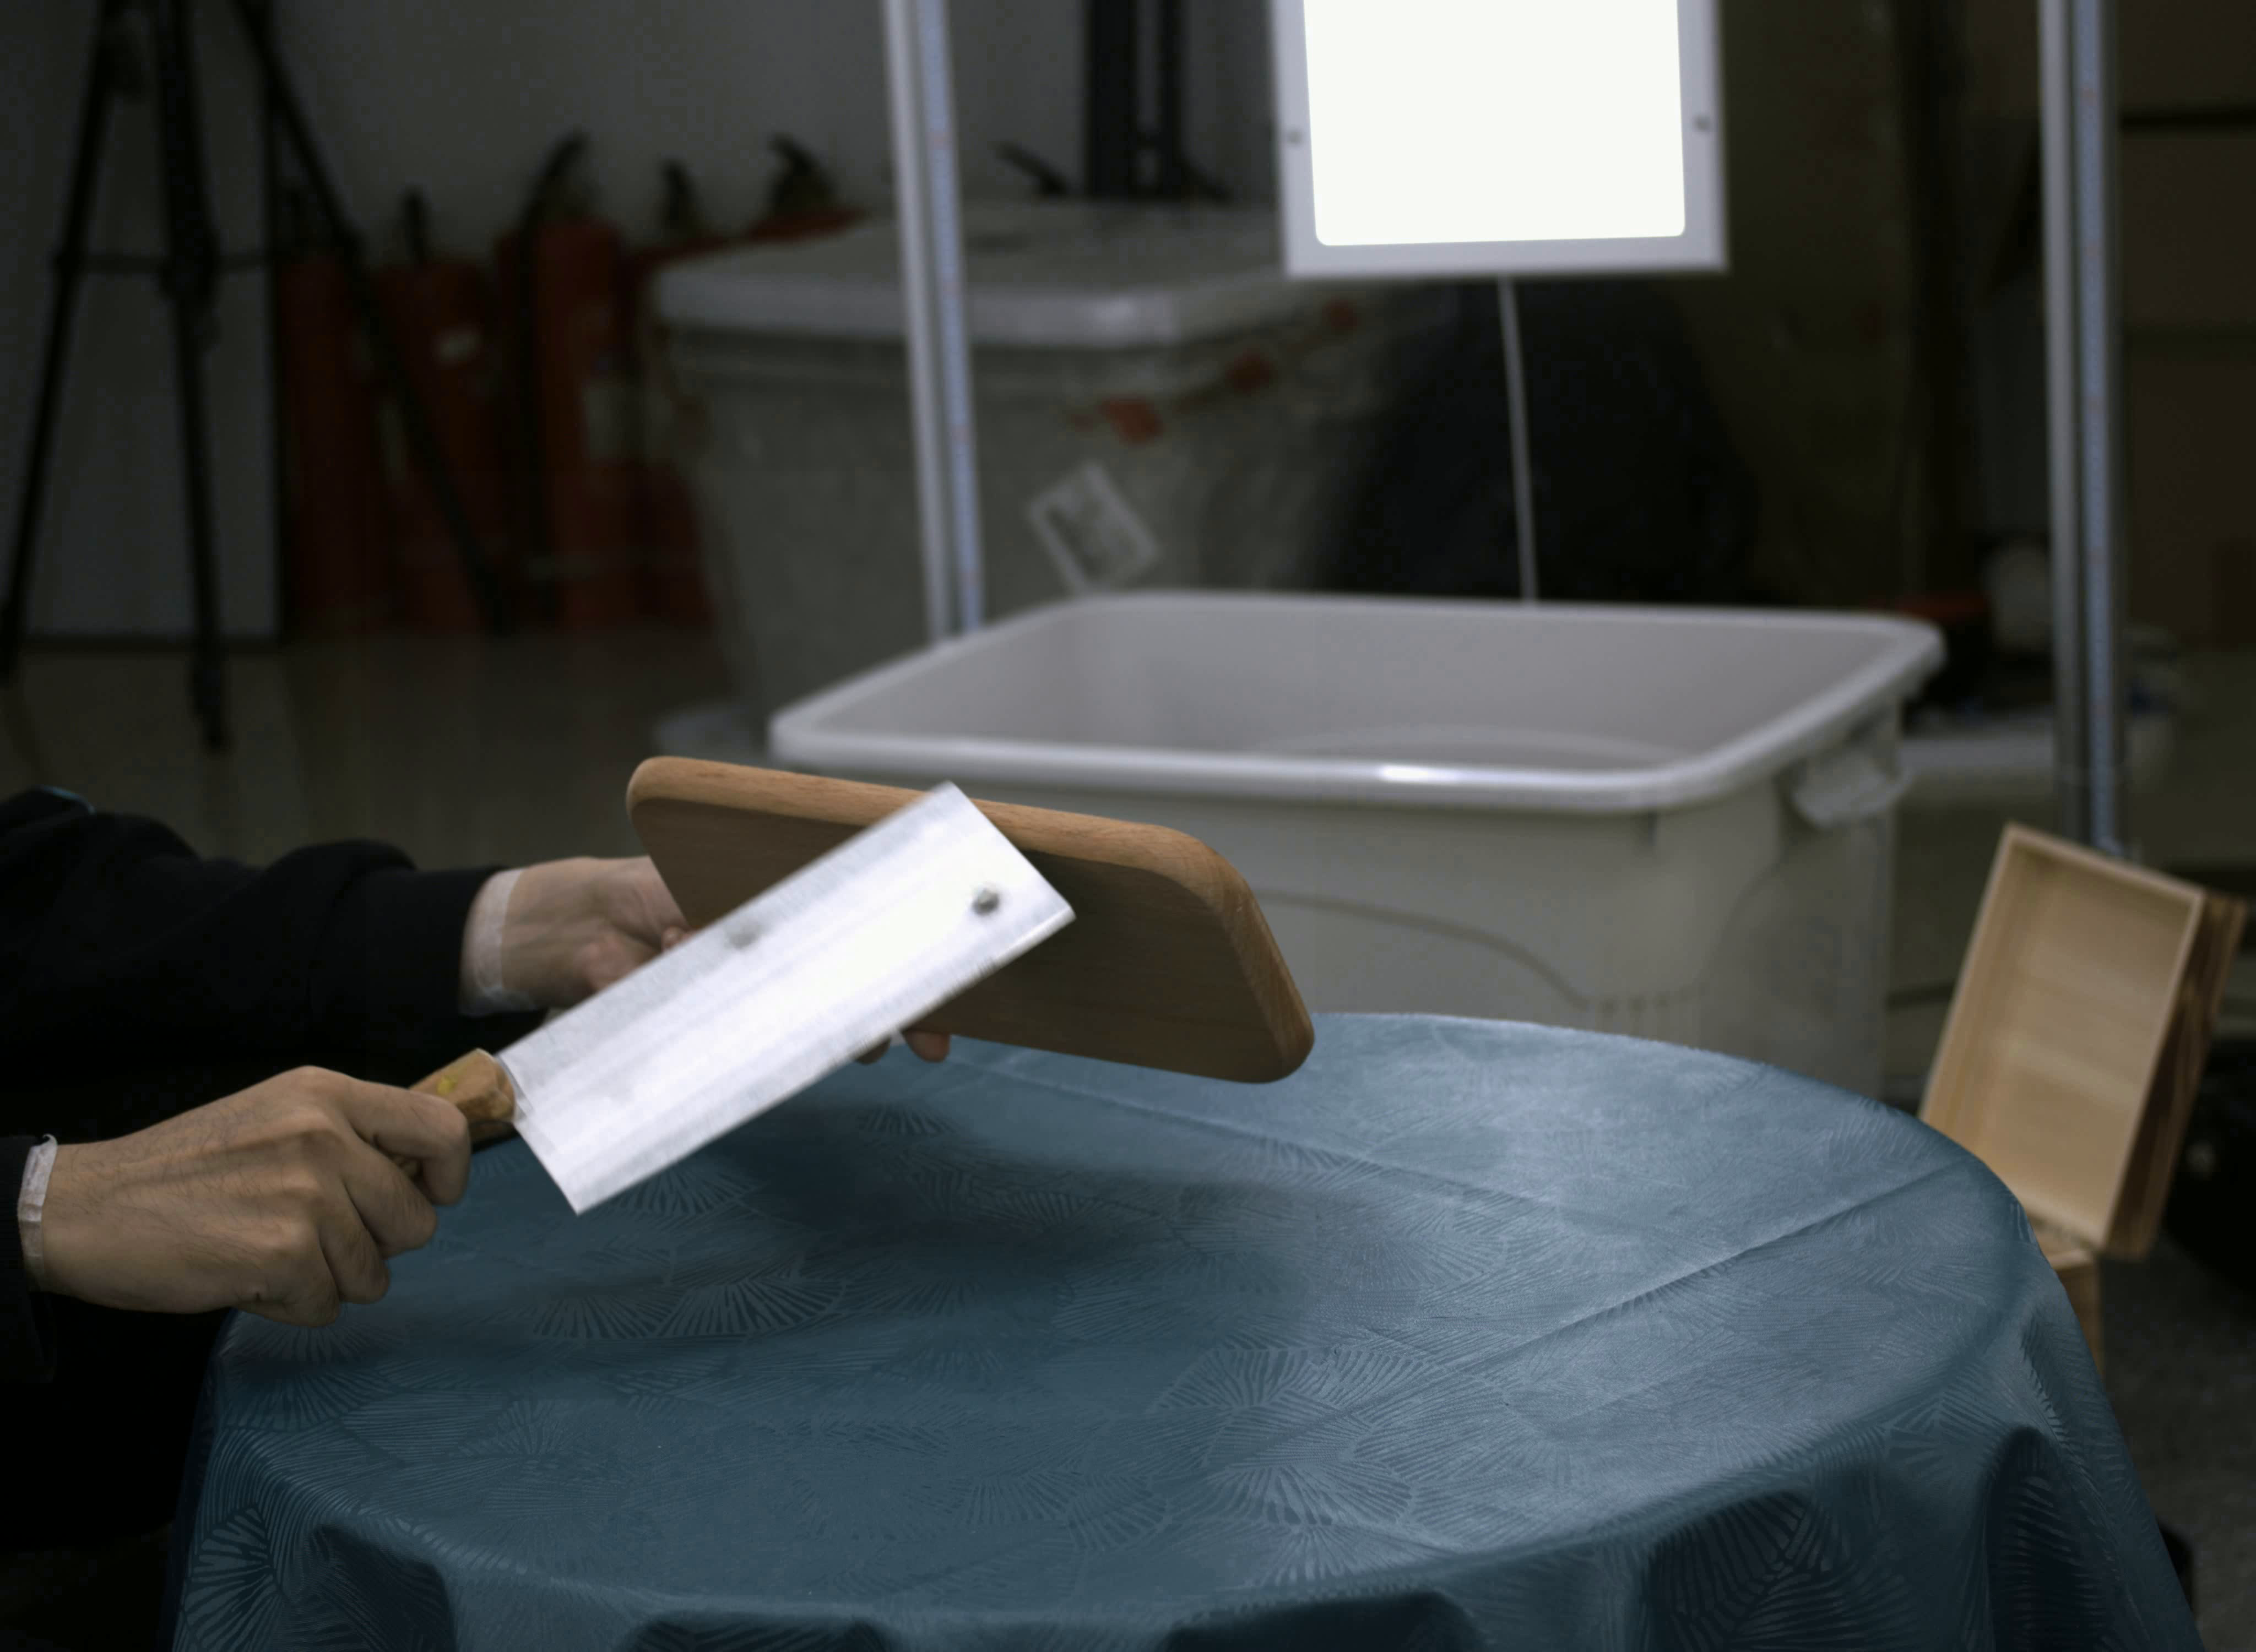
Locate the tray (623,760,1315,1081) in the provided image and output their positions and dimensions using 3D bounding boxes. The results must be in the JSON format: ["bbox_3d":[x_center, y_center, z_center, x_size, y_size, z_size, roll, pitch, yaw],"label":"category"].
[{"bbox_3d":[-0.058,0.034,1.901,0.255,0.130,0.022,6,49,33],"label":"tray"}]

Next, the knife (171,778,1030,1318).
[{"bbox_3d":[-0.167,0.081,1.801,0.303,0.021,0.094,-33,41,-10],"label":"knife"}]
